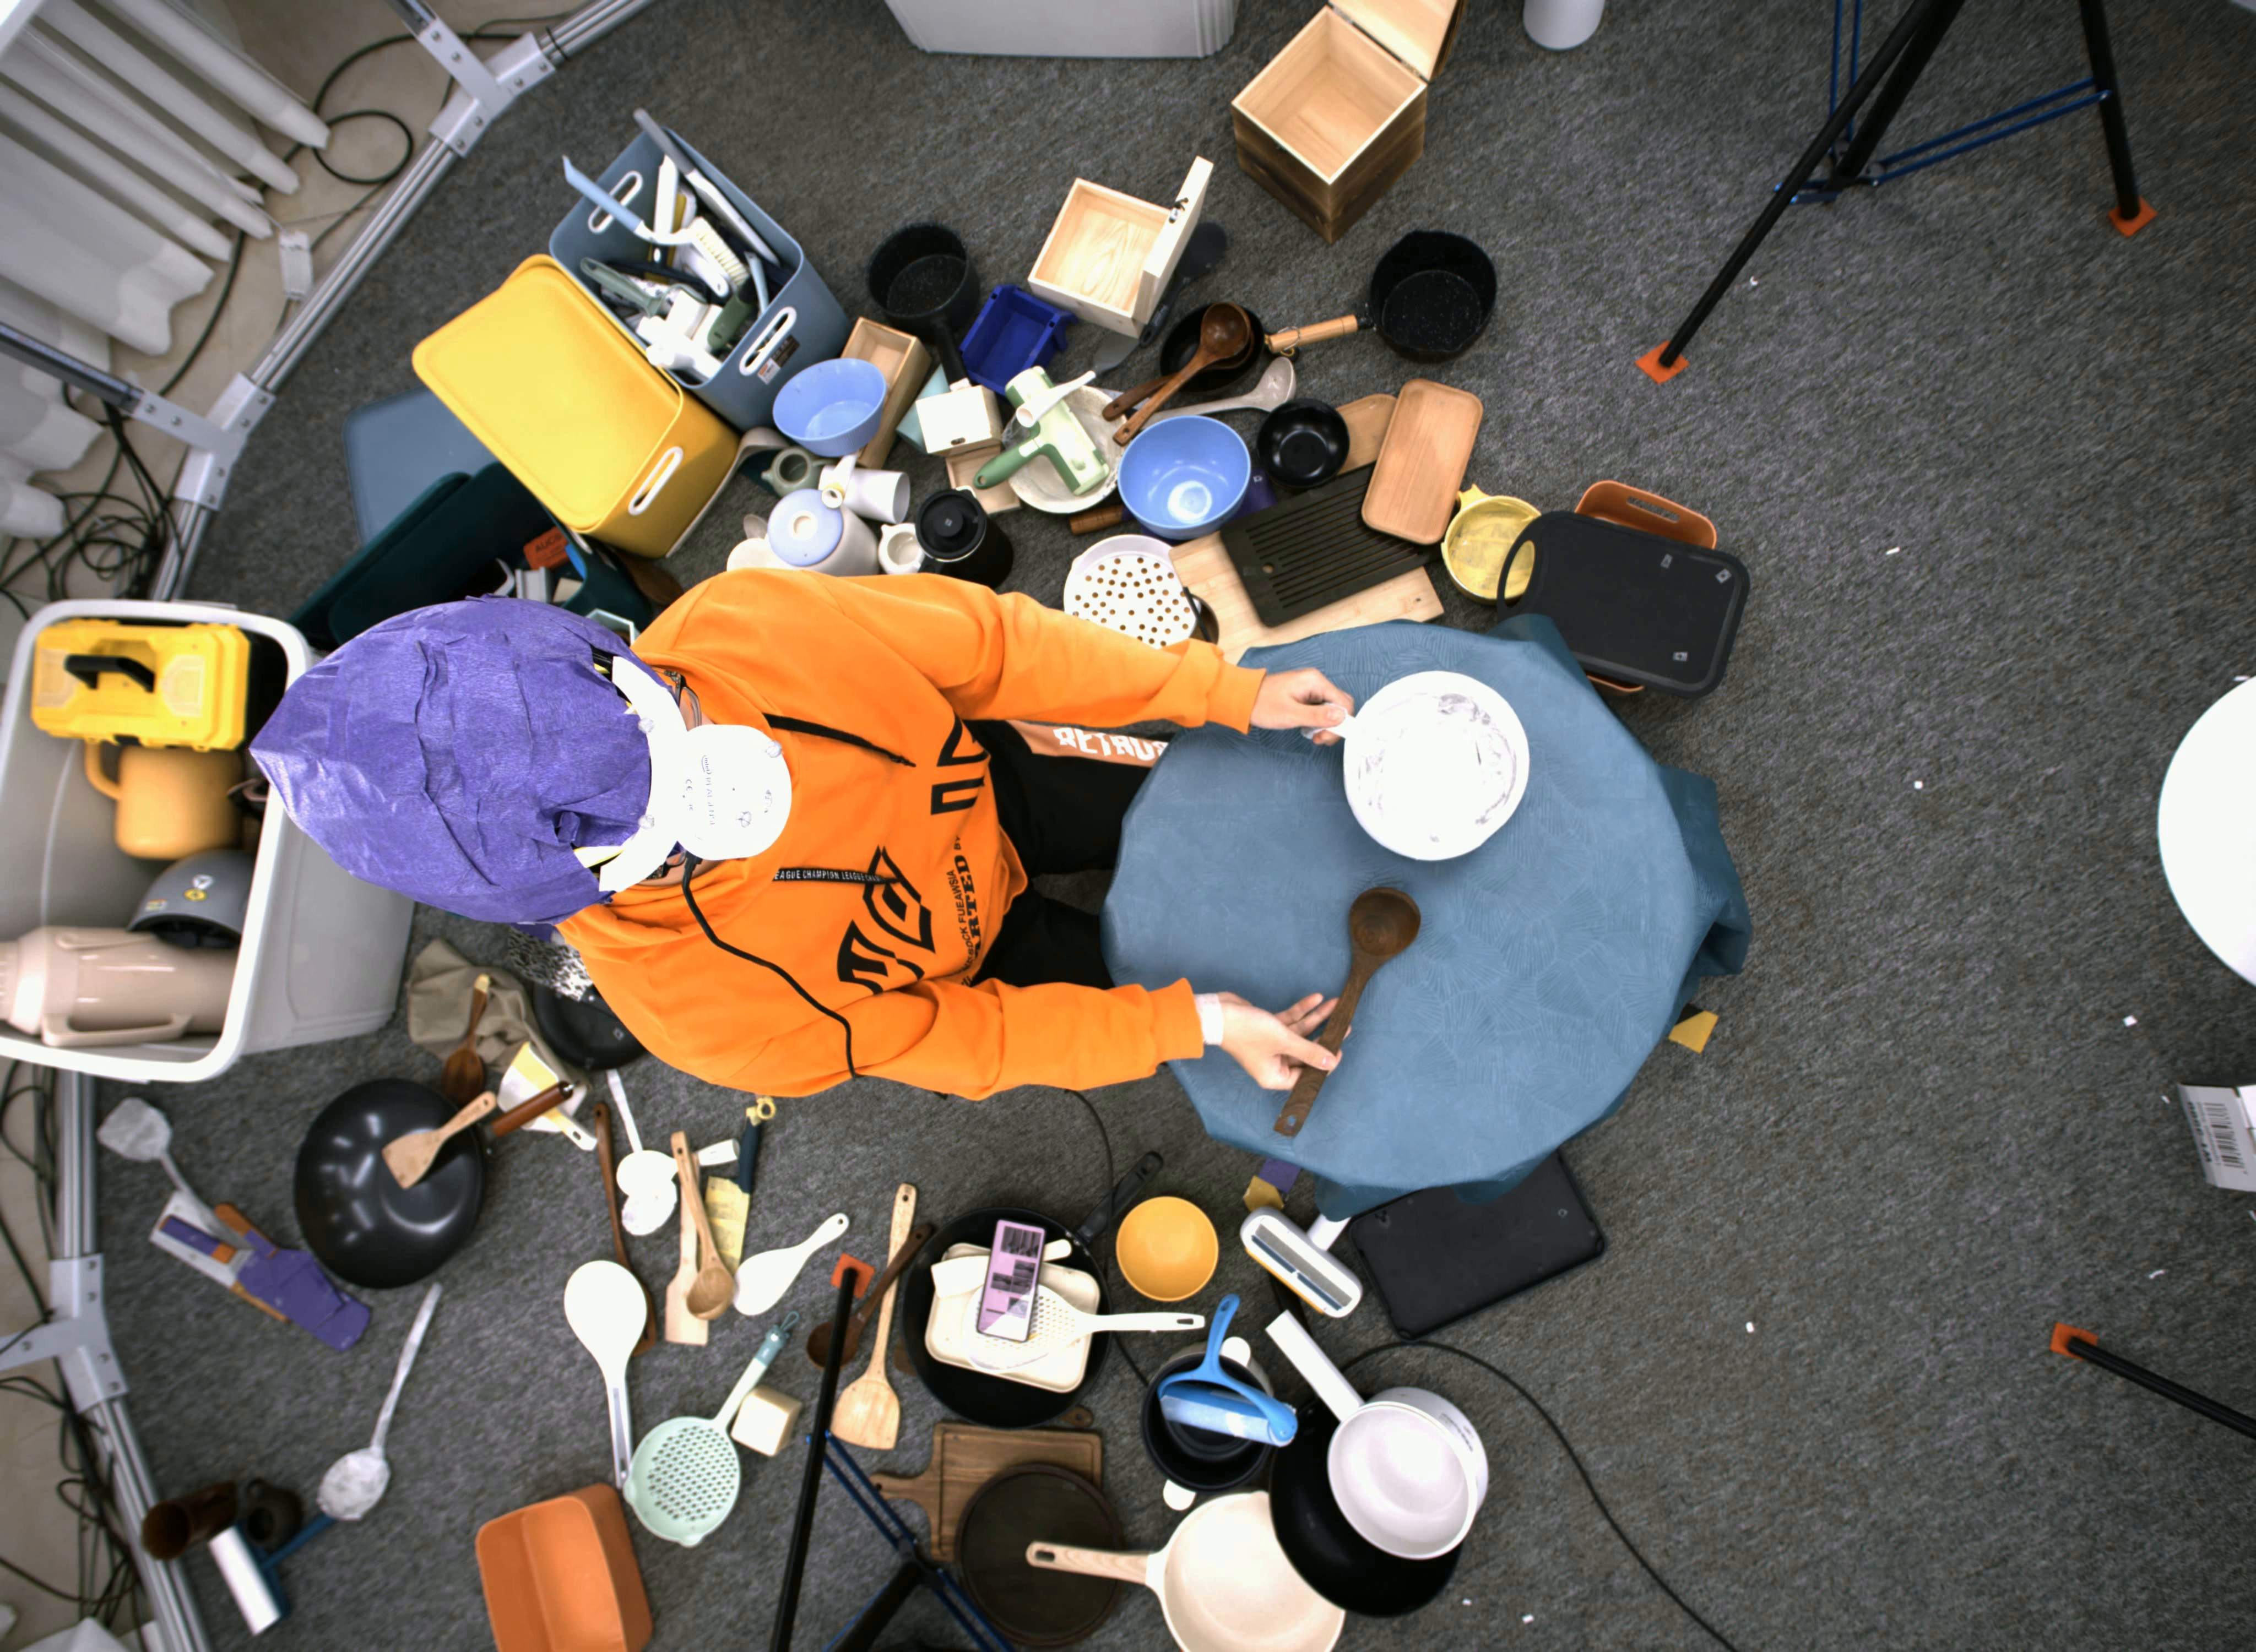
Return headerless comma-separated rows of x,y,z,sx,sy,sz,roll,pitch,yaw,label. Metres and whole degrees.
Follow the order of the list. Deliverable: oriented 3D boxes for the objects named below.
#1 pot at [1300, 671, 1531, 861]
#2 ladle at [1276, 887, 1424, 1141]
0.283,-0.069,1.395,0.233,0.137,0.178,24,89,10,pot
0.220,0.189,1.410,0.076,0.072,0.271,25,78,12,ladle
